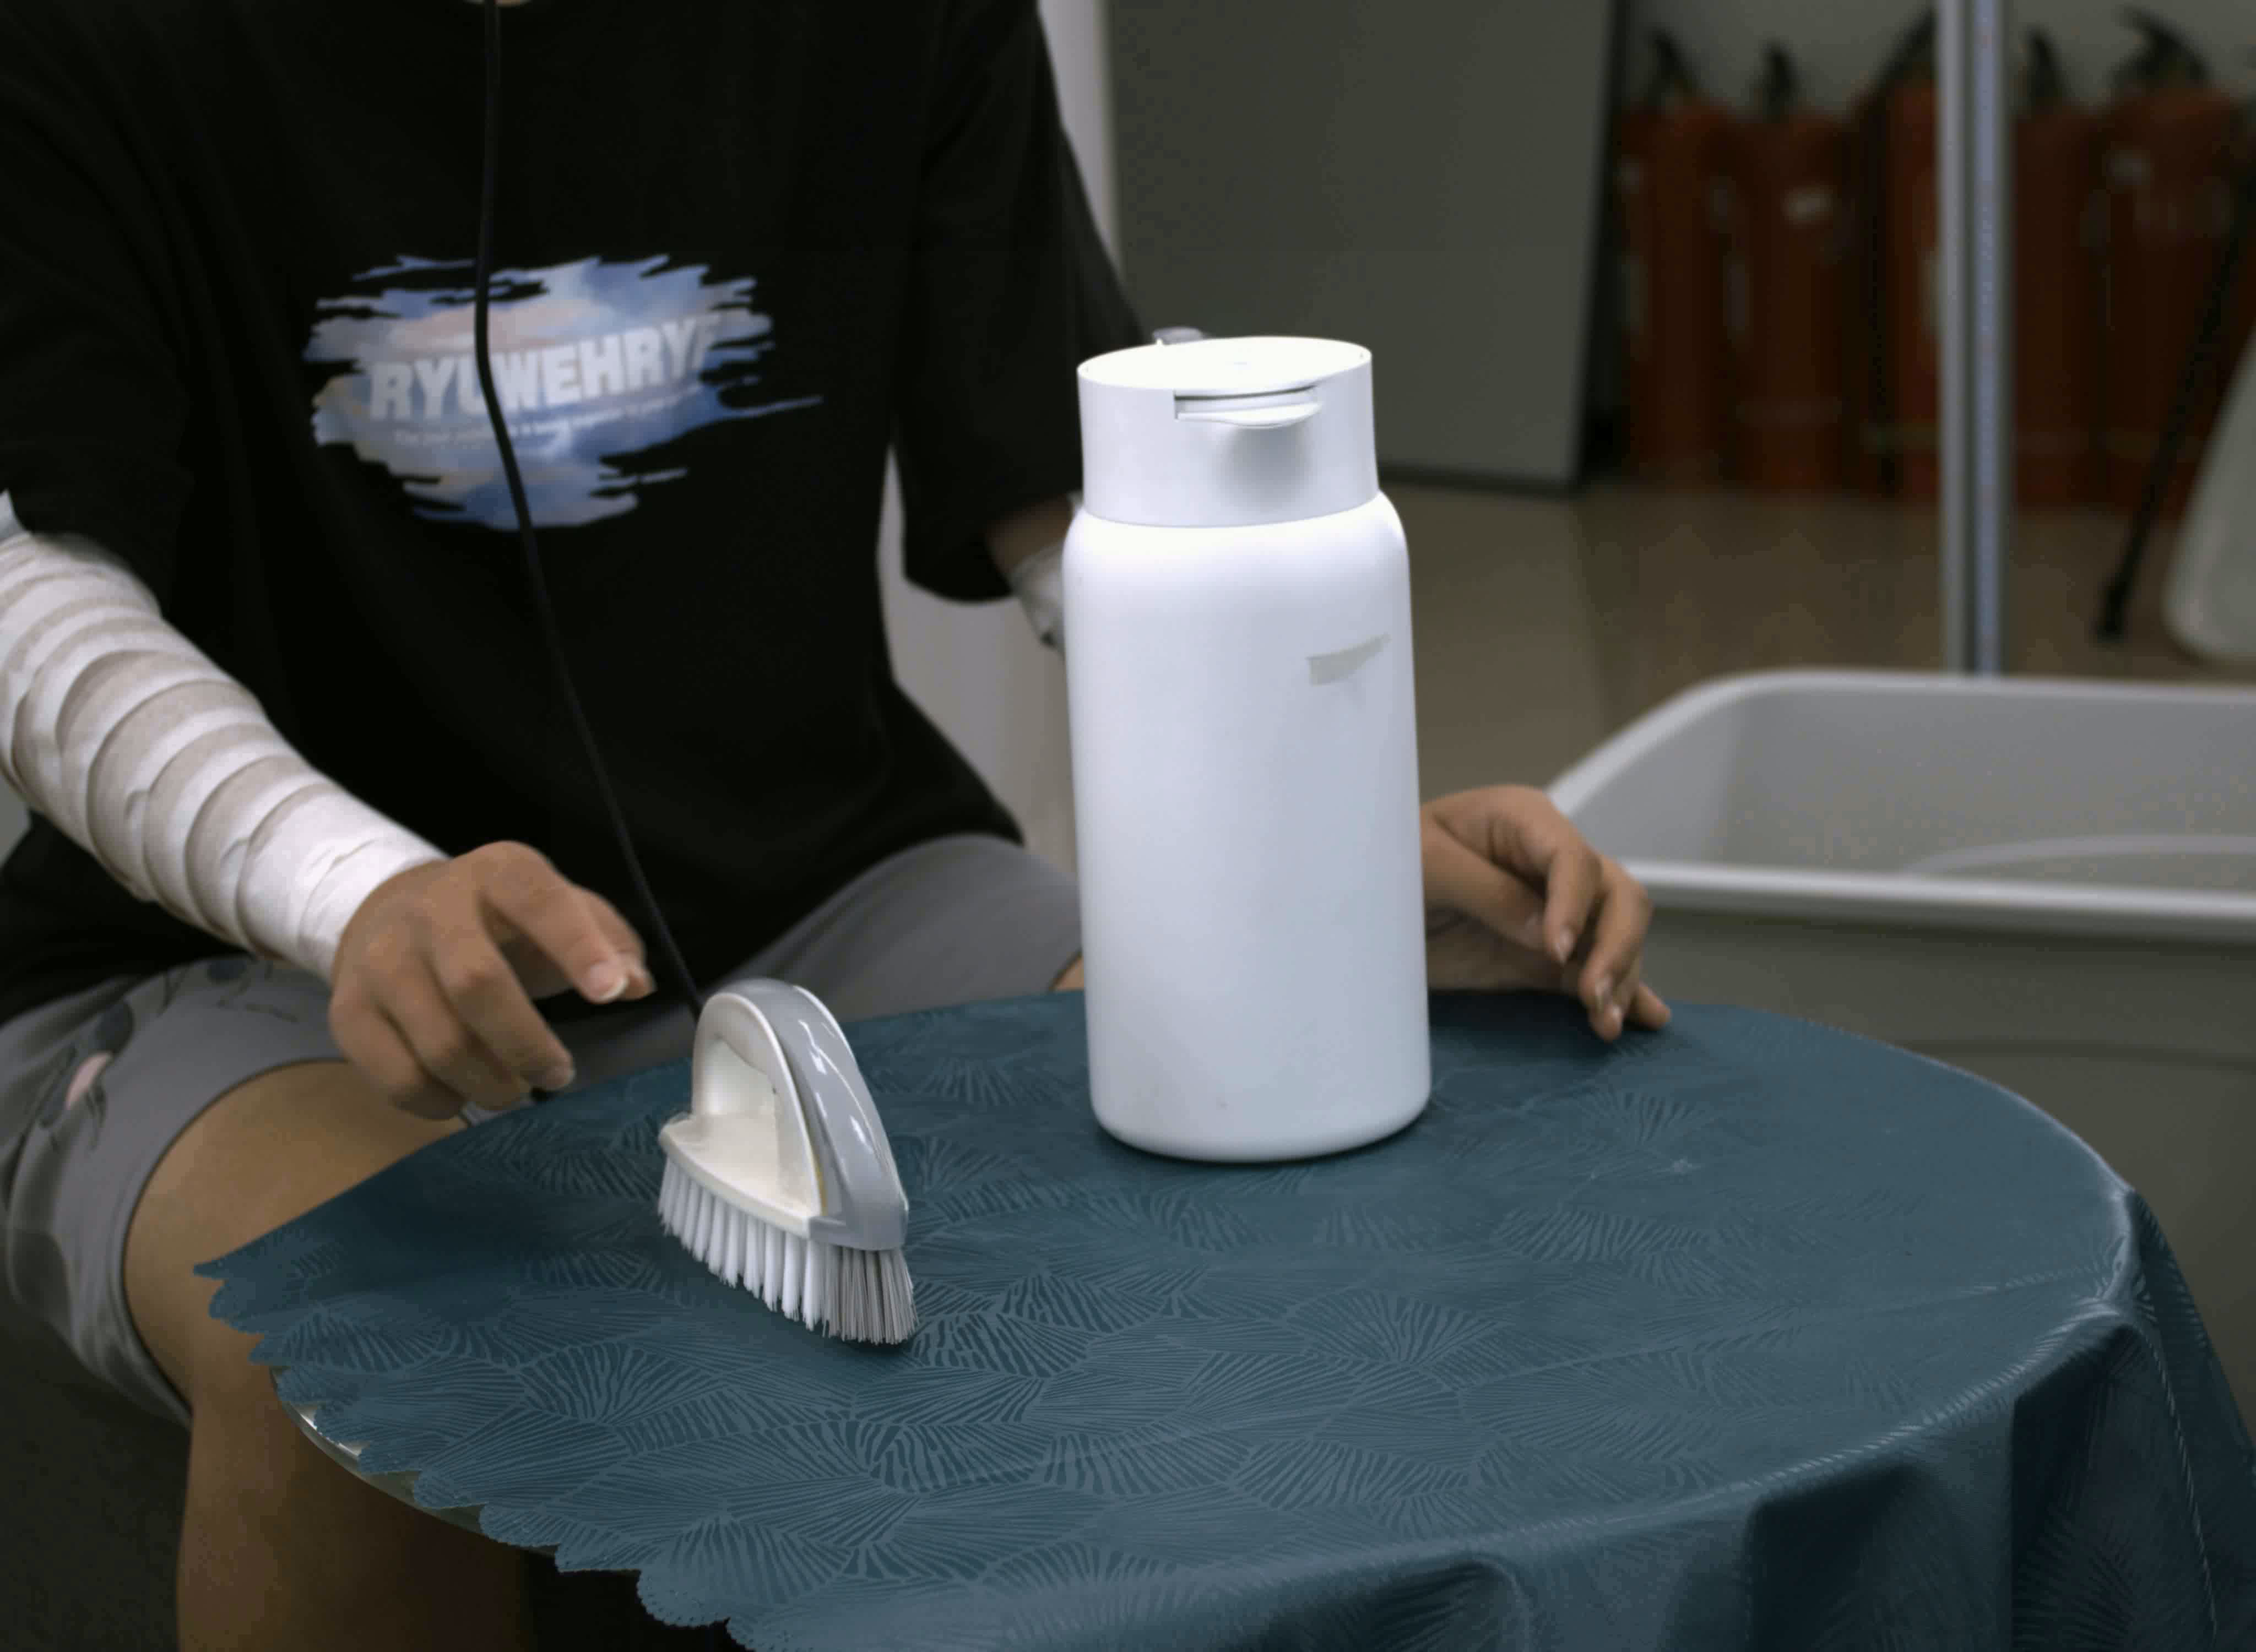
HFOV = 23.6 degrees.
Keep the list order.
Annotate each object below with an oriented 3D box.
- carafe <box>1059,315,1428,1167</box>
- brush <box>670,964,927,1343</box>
[{"bbox_3d":[0.032,-0.032,1.825,0.121,0.272,0.174,-8,13,-12],"label":"carafe"},{"bbox_3d":[-0.100,0.098,1.701,0.060,0.095,0.177,-10,16,-18],"label":"brush"}]
